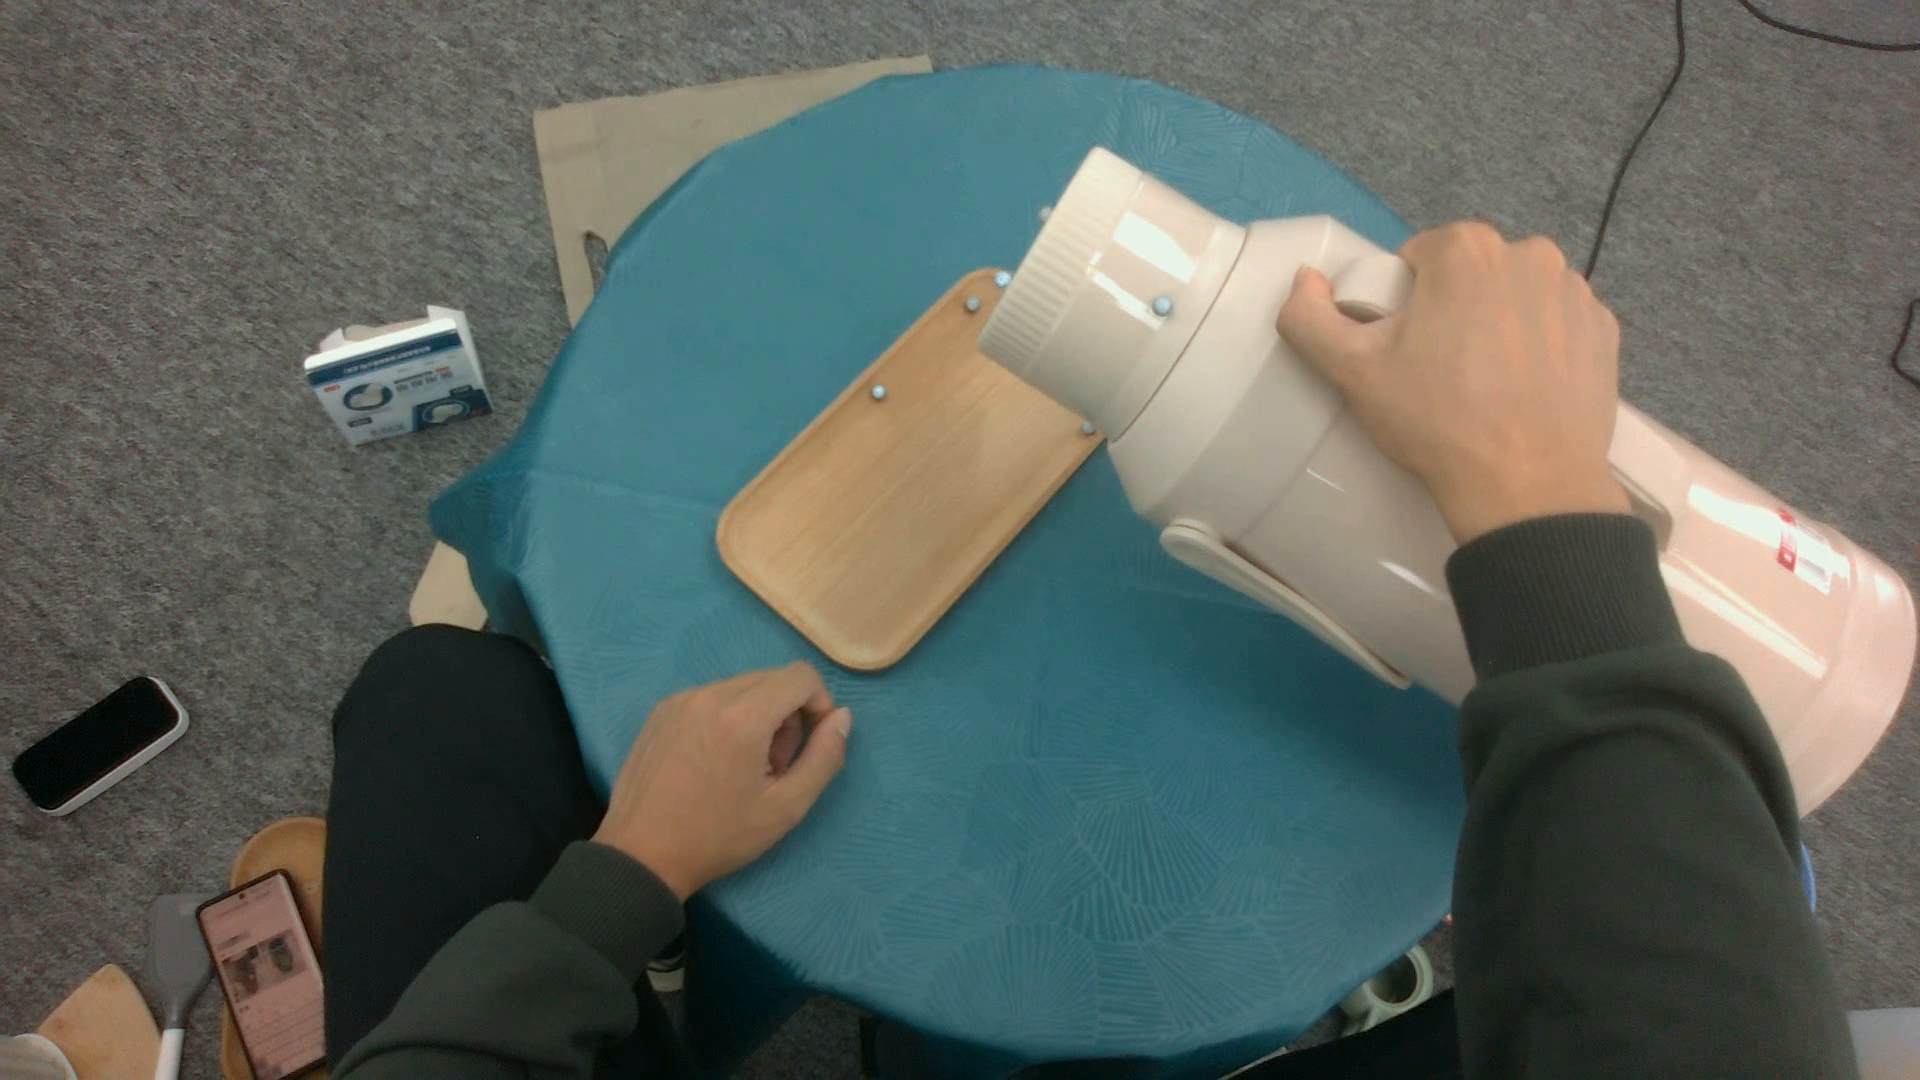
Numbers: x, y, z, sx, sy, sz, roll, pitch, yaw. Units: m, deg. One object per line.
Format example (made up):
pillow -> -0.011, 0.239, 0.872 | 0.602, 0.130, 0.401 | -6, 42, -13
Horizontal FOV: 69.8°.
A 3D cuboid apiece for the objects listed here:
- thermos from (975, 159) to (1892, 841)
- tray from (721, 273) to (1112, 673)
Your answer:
thermos -> 0.208, -0.029, 0.629 | 0.406, 0.206, 0.176 | 32, 72, -2
tray -> -0.014, -0.044, 0.786 | 0.130, 0.023, 0.251 | 40, 70, 11
